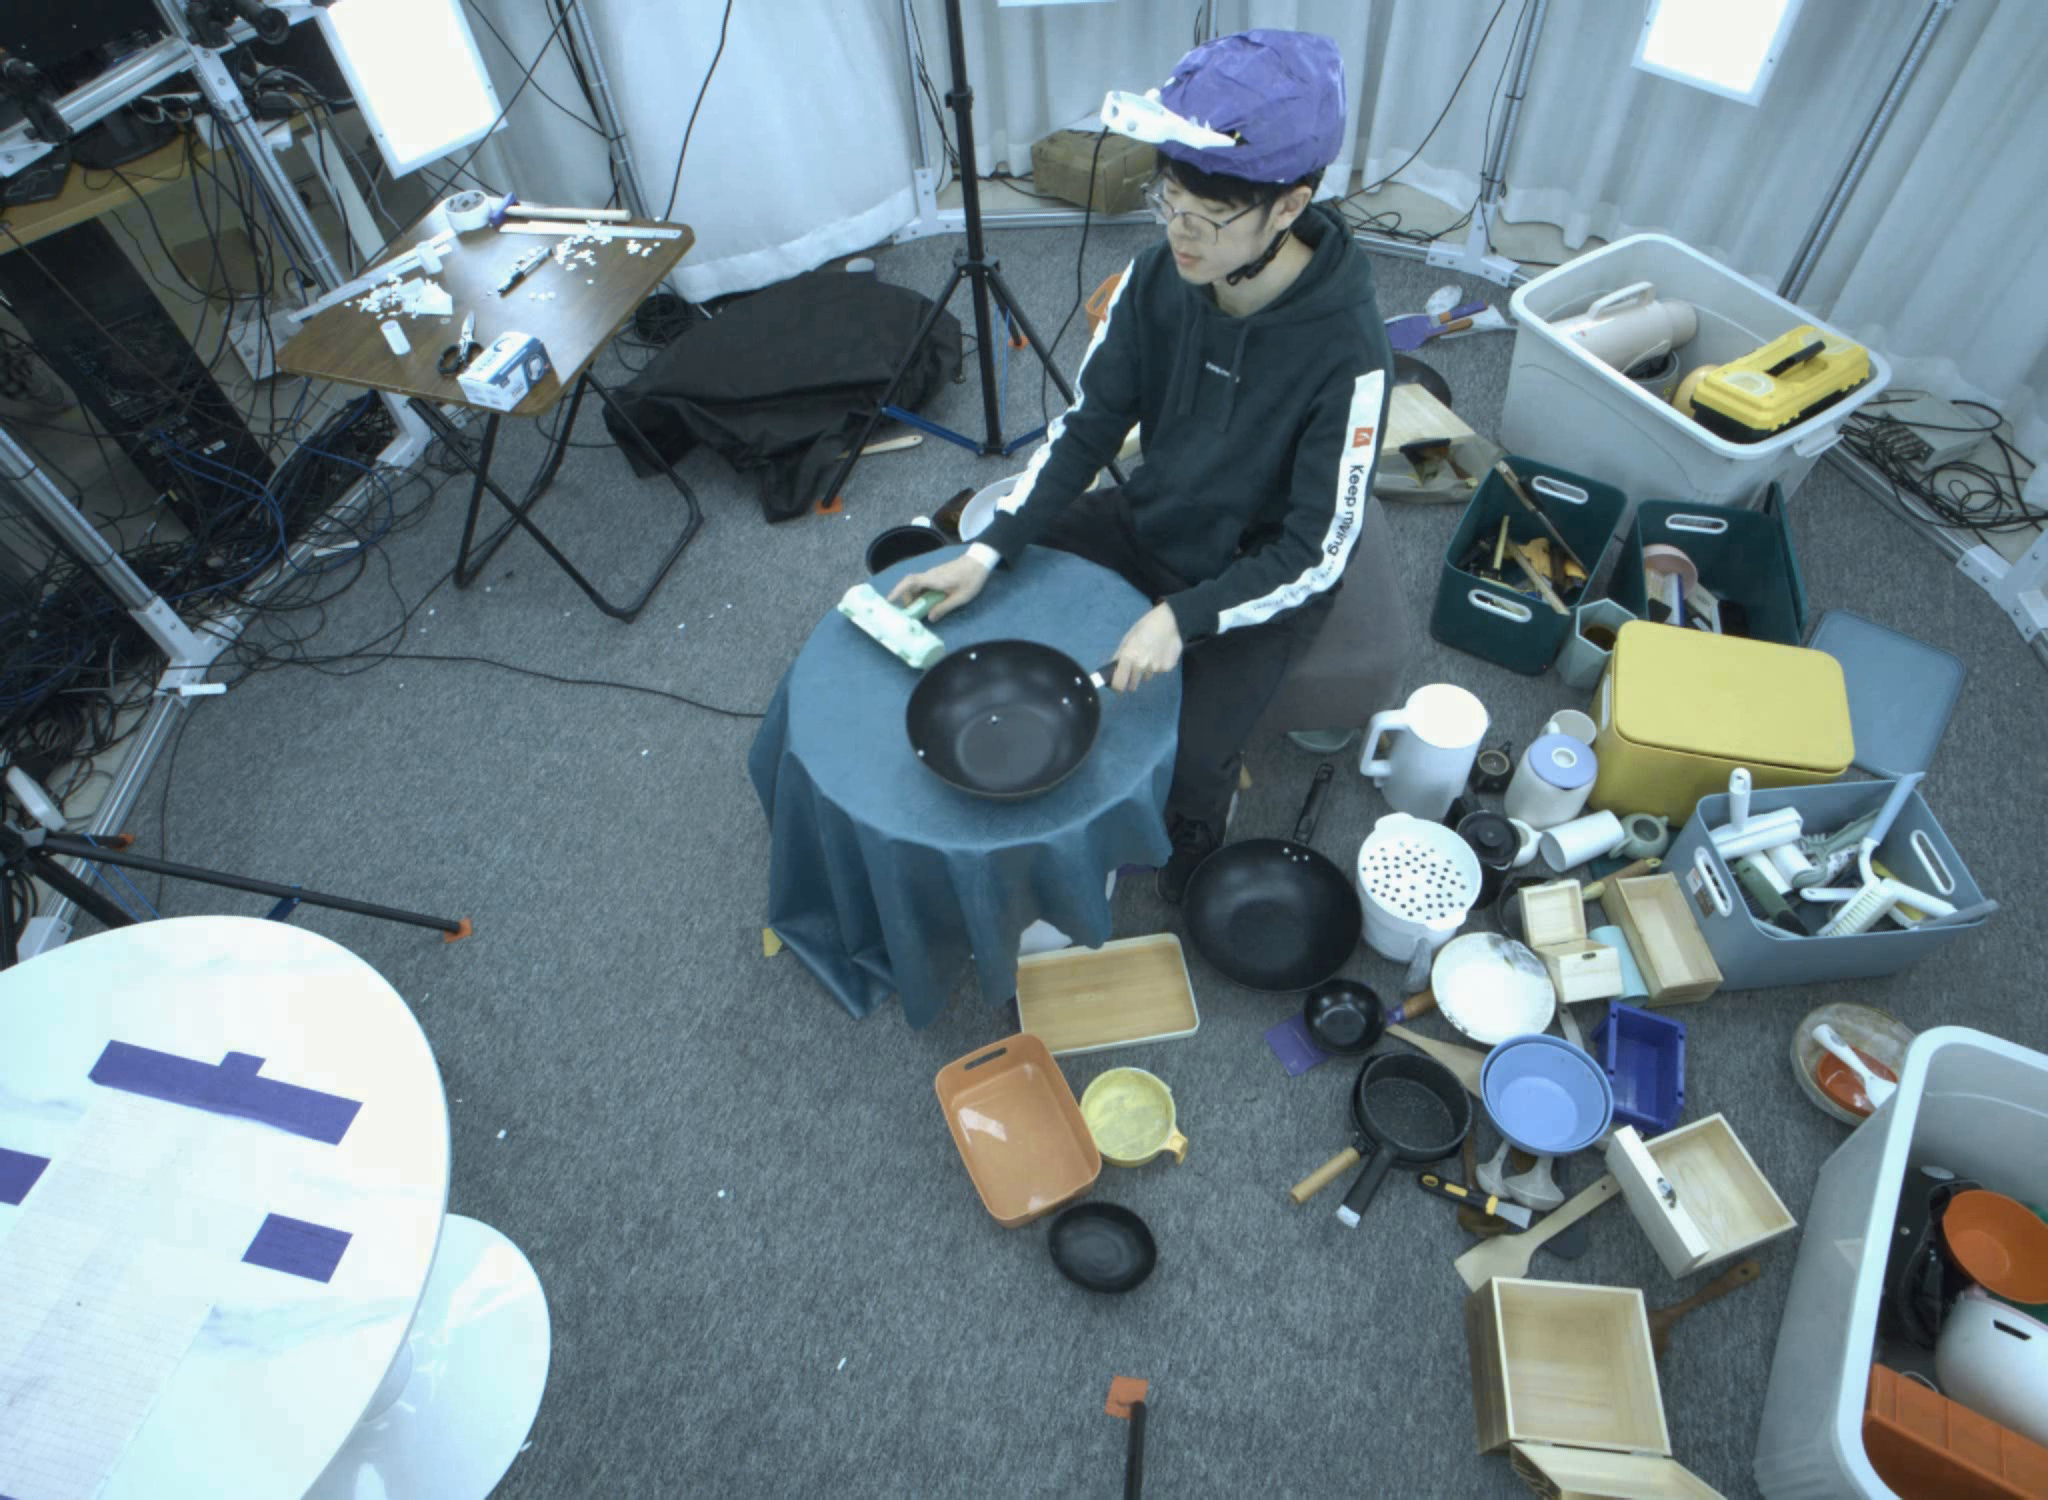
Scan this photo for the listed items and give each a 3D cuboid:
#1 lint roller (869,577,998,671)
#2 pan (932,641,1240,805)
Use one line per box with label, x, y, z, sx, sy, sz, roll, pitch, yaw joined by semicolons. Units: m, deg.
lint roller;-0.117;-0.229;1.898;0.184;0.083;0.195;-41;61;-16
pan;0.096;-0.057;1.769;0.467;0.088;0.283;-20;56;-14
